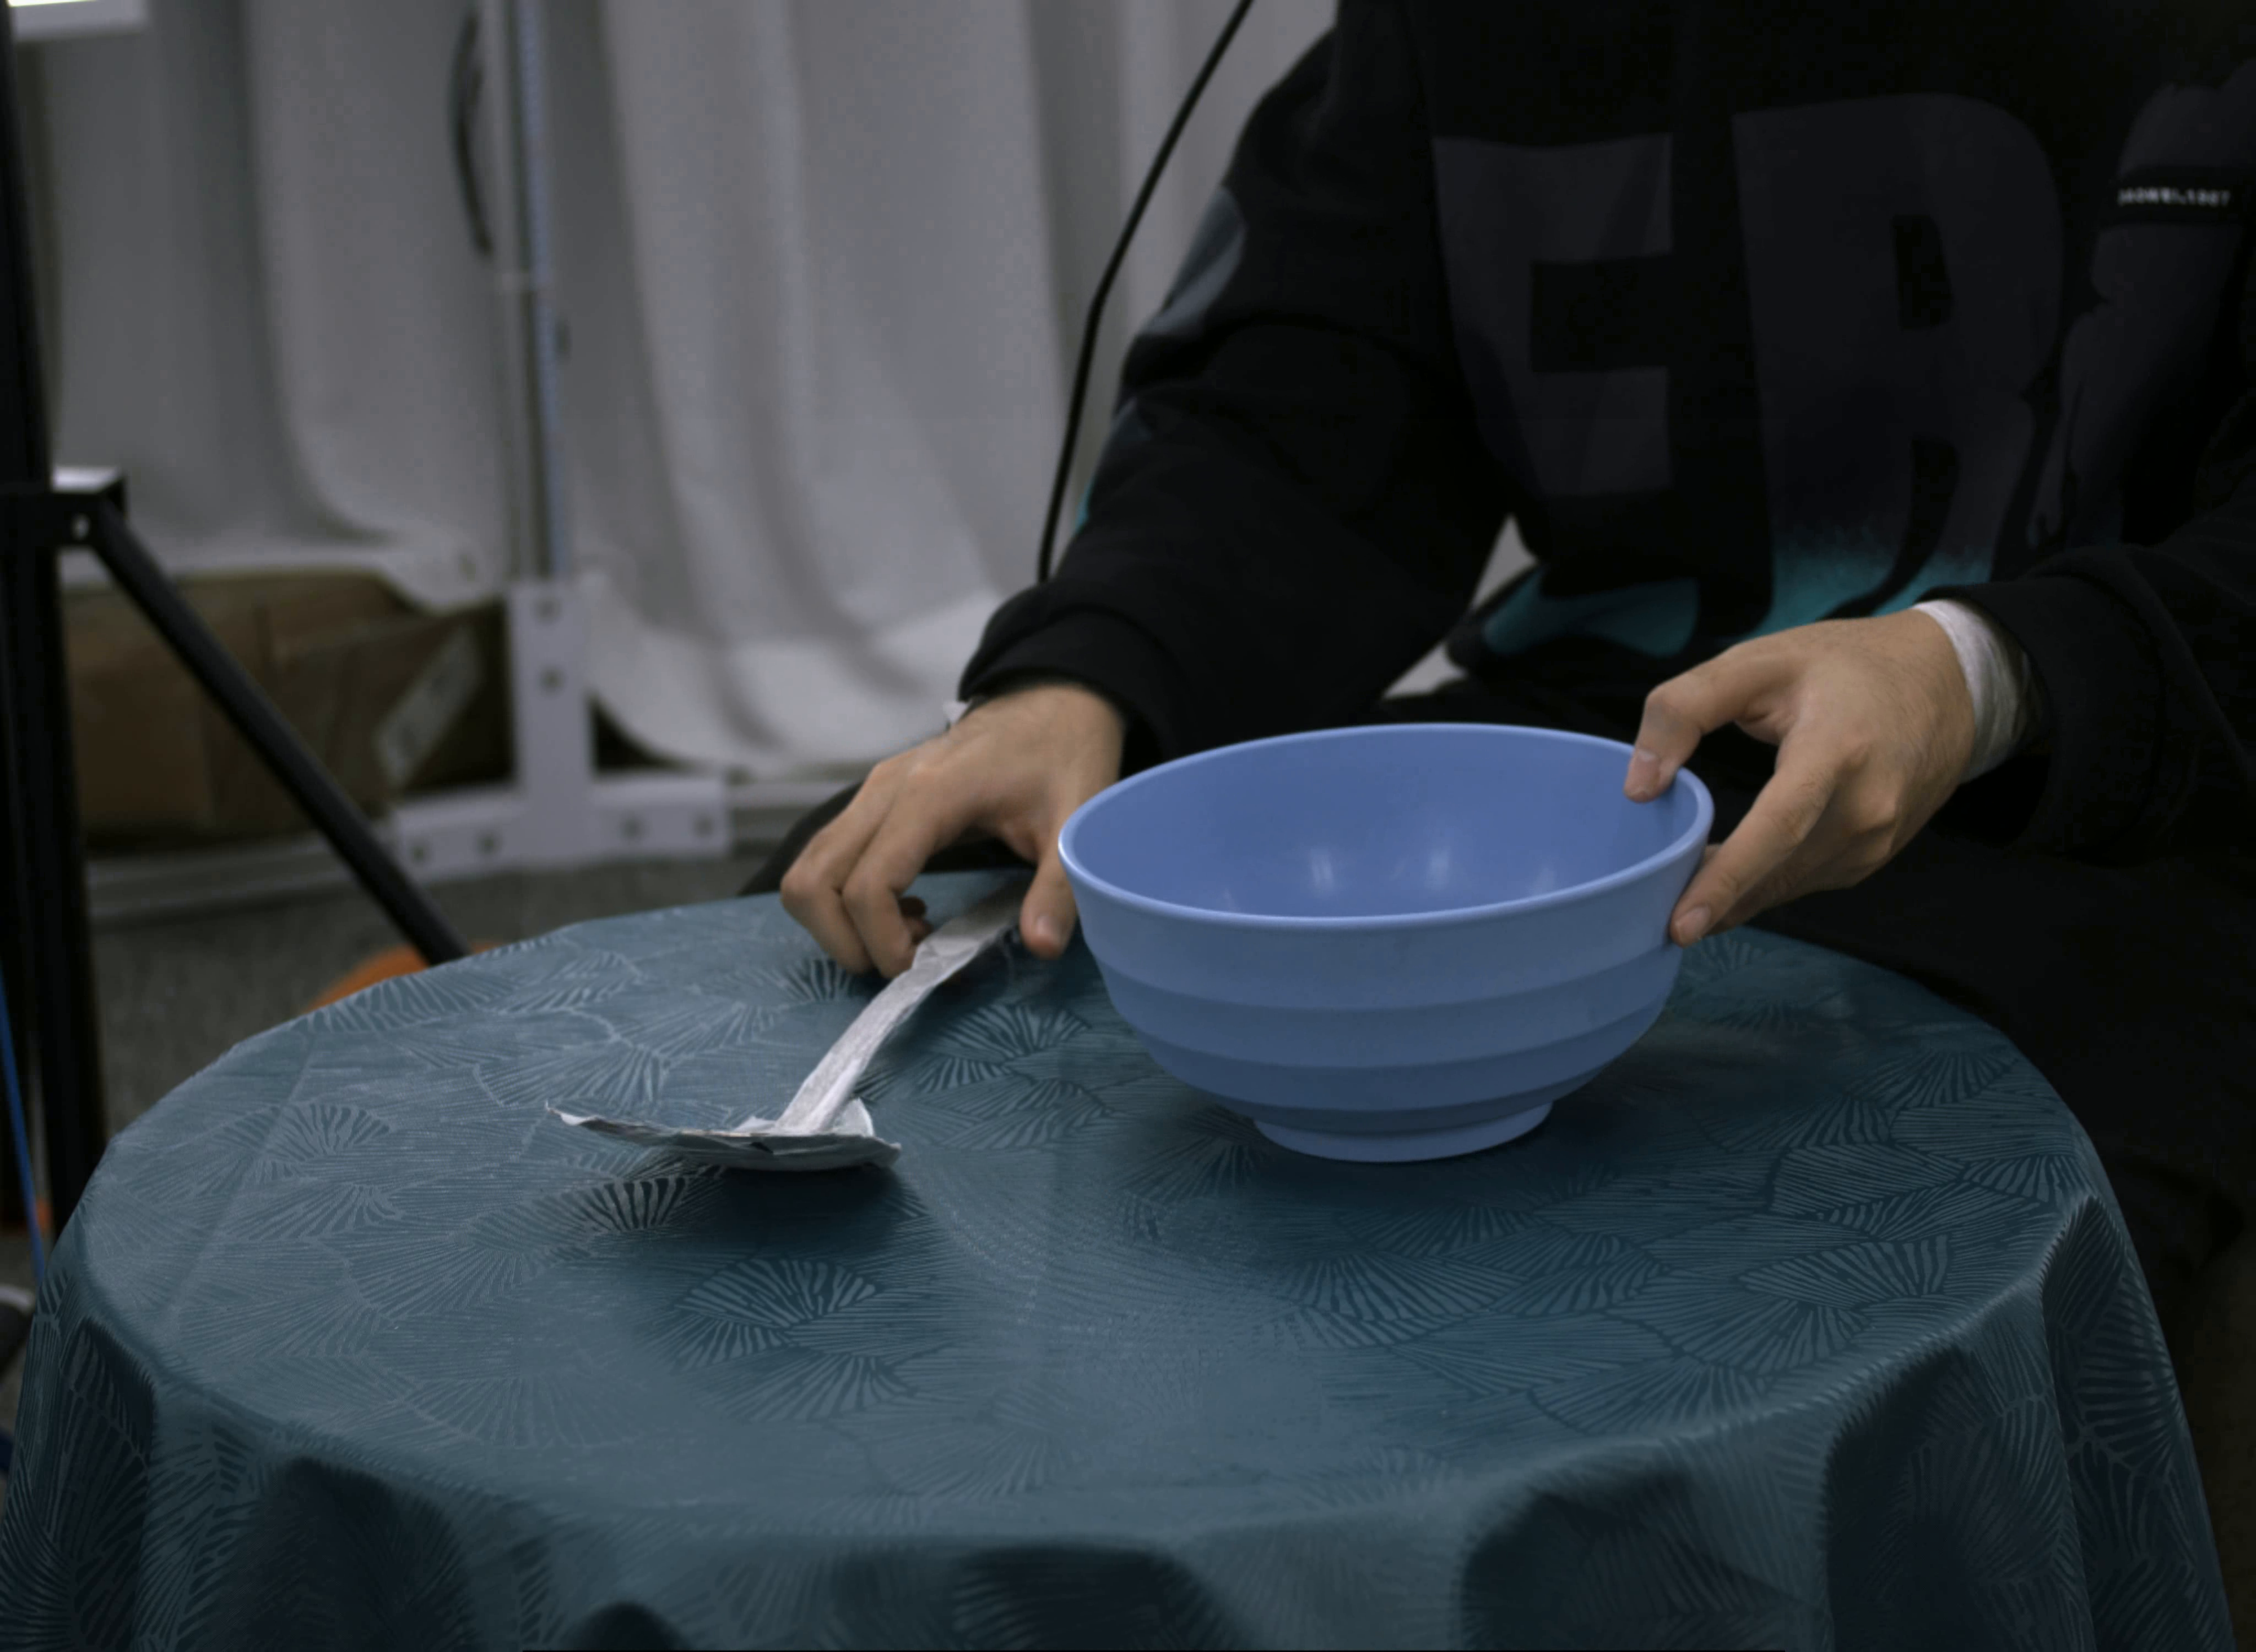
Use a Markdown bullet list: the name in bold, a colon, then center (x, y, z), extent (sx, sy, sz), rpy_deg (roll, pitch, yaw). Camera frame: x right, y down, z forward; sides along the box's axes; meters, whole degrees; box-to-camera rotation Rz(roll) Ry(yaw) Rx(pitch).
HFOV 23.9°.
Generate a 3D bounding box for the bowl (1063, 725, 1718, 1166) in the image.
- **bowl**: center (0.081, 0.042, 1.598), extent (0.195, 0.095, 0.197), rpy_deg (-5, 17, 0)

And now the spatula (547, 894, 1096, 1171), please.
- **spatula**: center (-0.072, 0.055, 1.686), extent (0.100, 0.045, 0.361), rpy_deg (1, 16, 18)
